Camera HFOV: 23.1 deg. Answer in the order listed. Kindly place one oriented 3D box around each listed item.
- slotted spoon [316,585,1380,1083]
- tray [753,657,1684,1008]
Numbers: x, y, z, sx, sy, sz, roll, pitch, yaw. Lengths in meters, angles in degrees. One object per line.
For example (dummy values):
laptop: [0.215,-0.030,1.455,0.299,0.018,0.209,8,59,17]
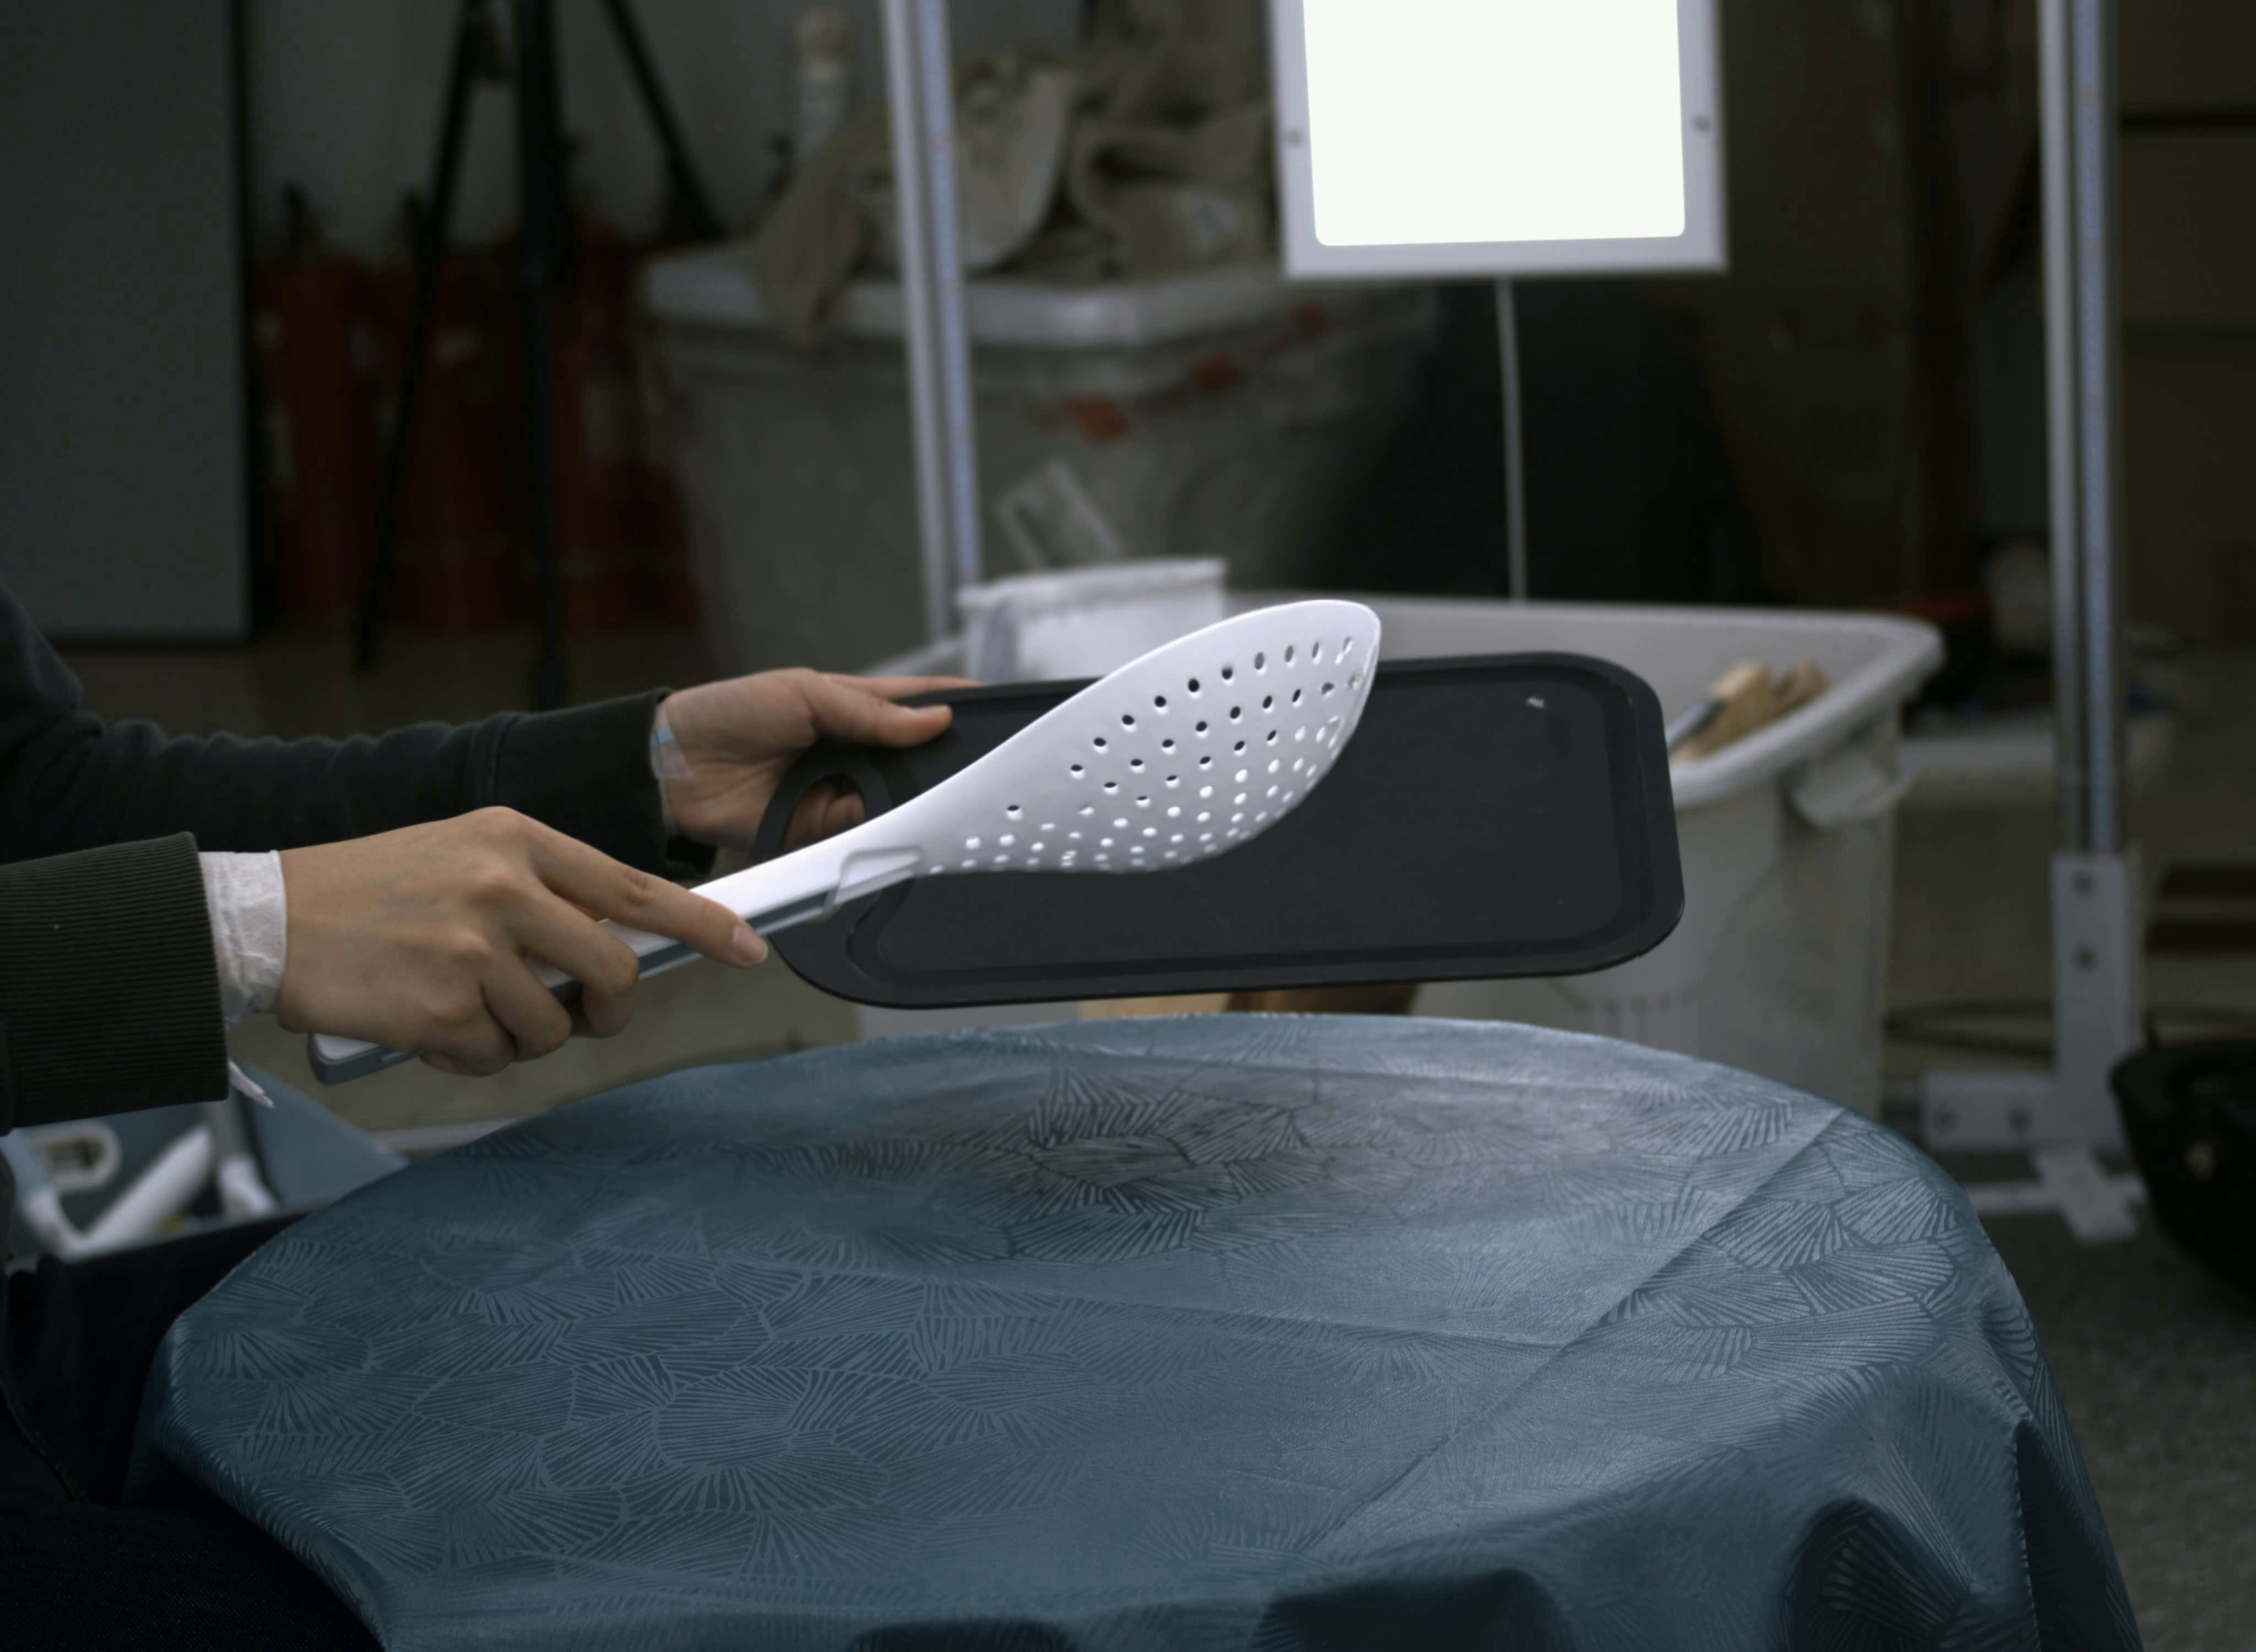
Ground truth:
slotted spoon: [-0.078,0.006,1.644,0.345,0.046,0.137,-16,-18,-14]
tray: [0.030,-0.001,1.926,0.326,0.010,0.210,-3,32,6]
